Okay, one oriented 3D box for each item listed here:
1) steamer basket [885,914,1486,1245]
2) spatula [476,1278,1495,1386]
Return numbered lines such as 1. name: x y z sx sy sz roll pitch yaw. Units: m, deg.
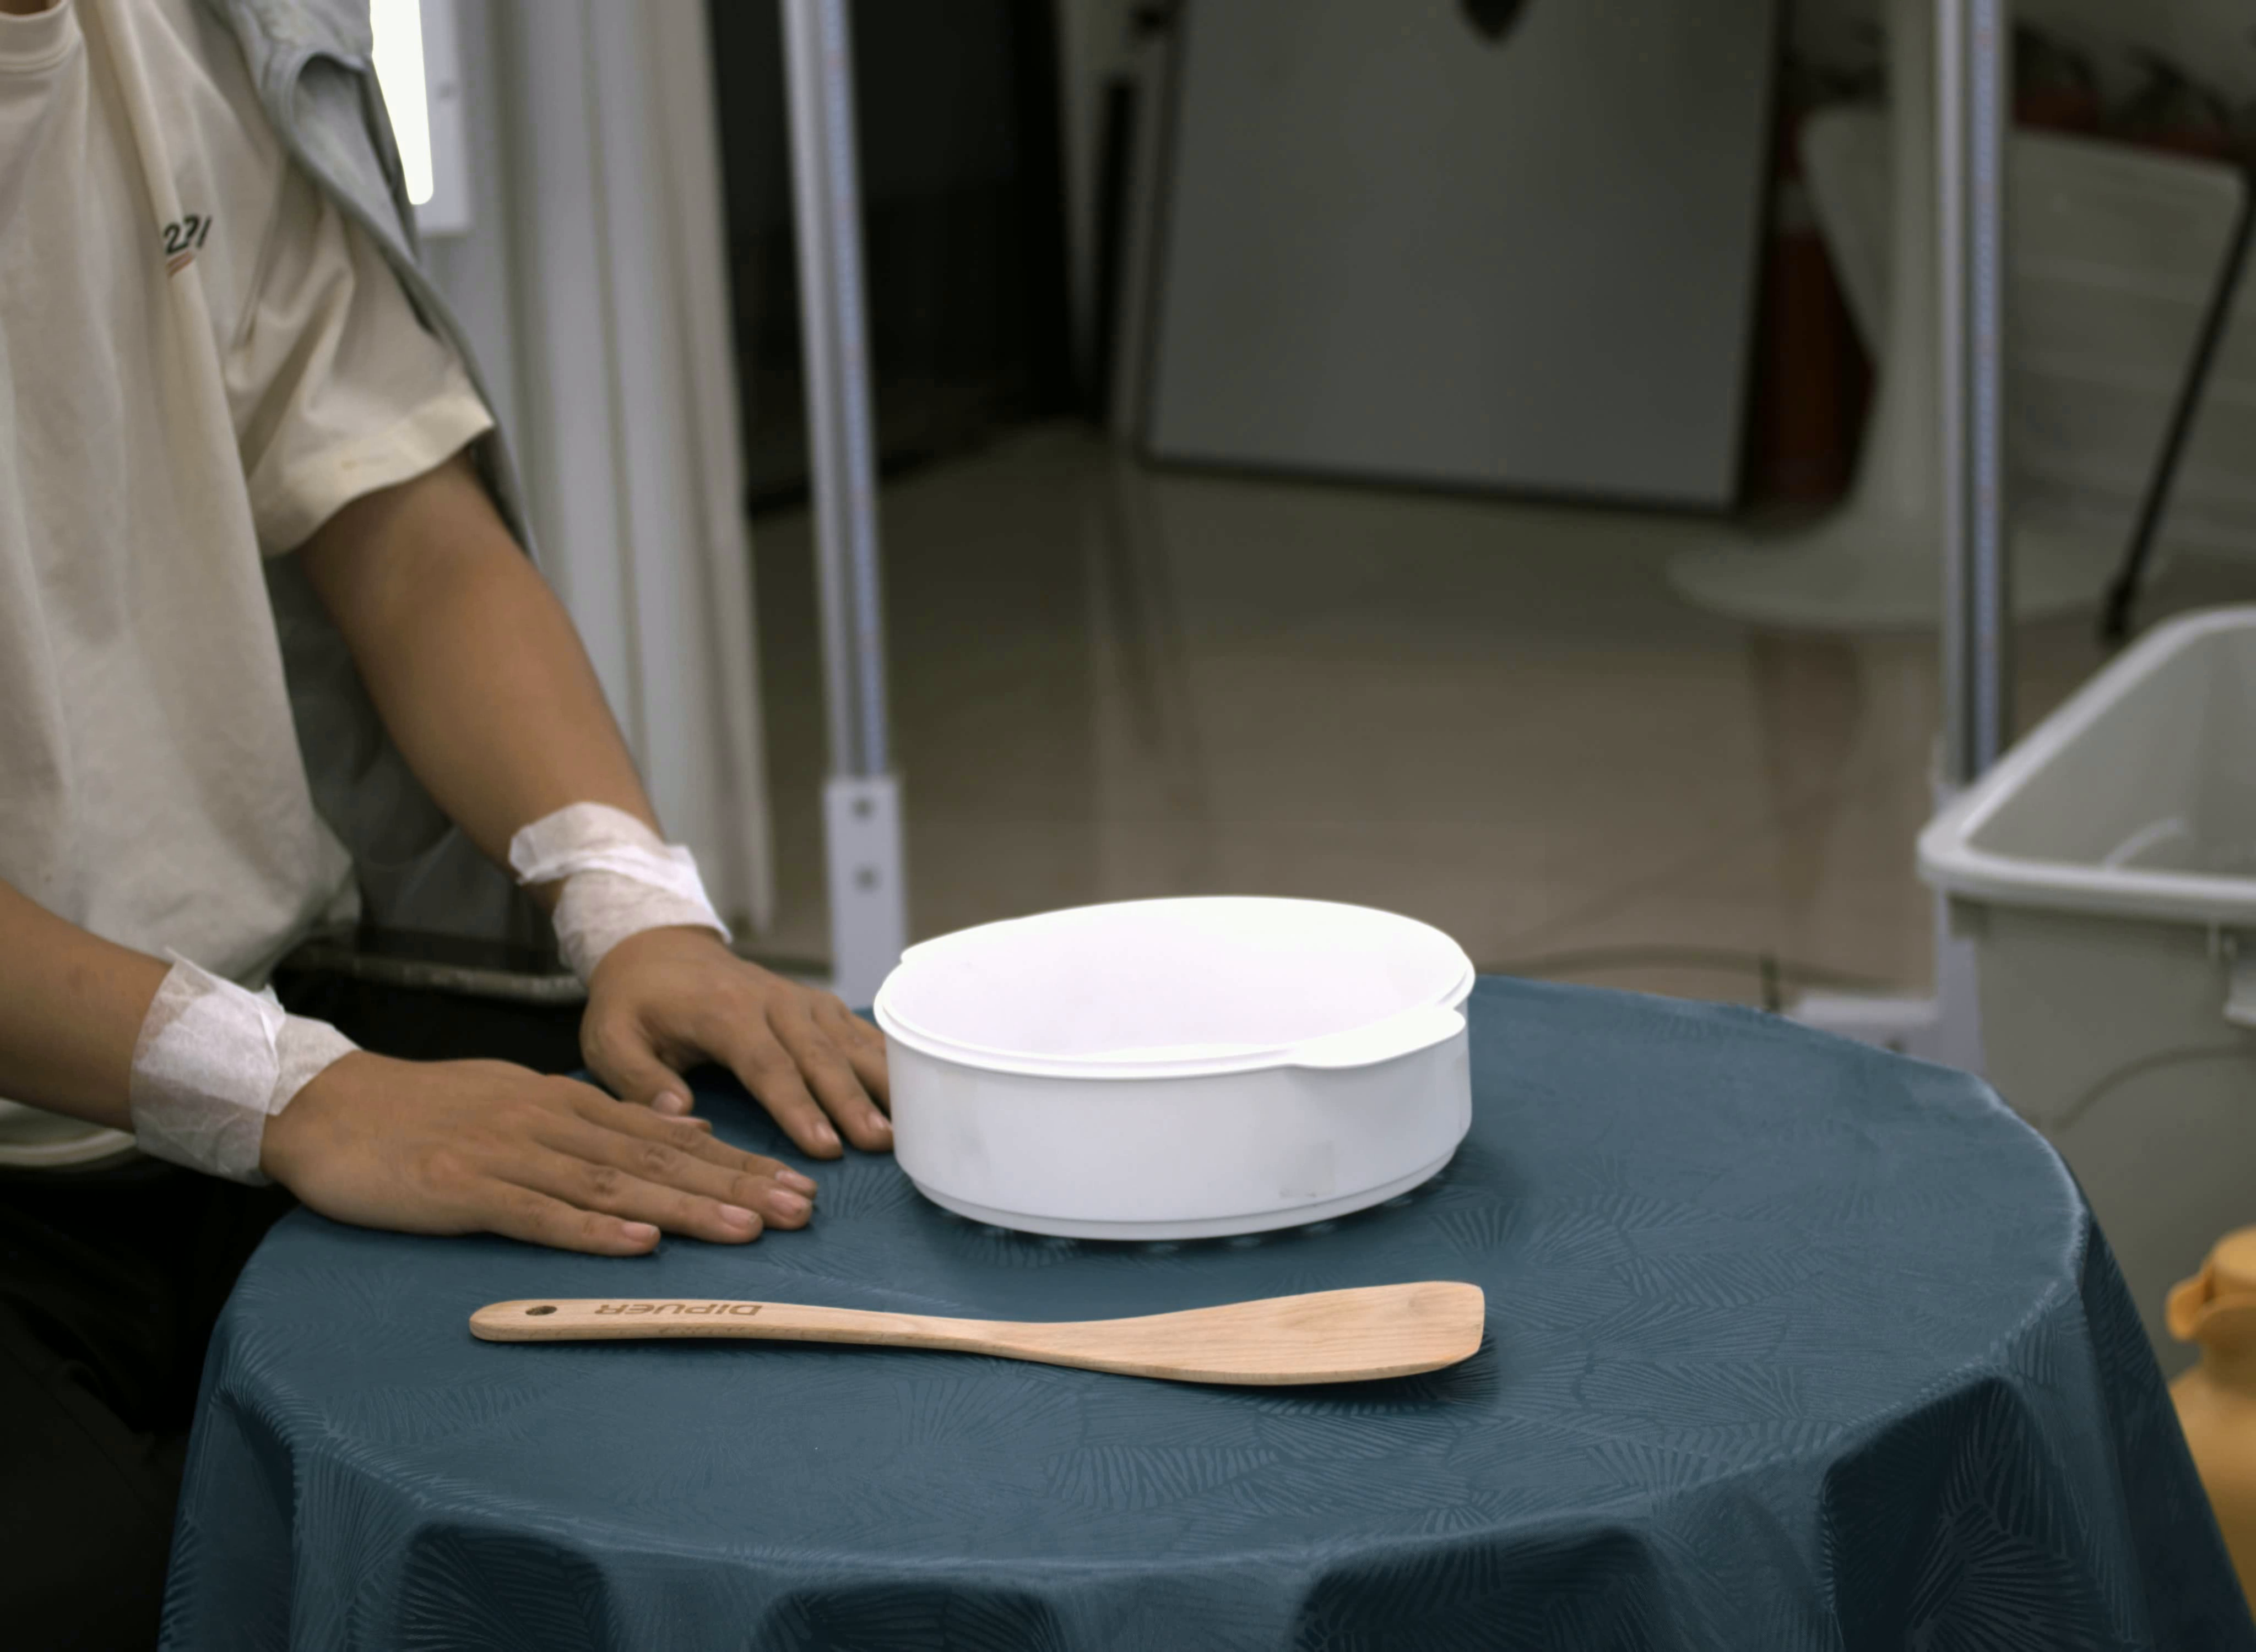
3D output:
1. steamer basket: 0.020 0.084 1.785 0.197 0.070 0.233 -13 16 -39
2. spatula: -0.044 0.151 1.631 0.326 0.017 0.079 0 13 16
